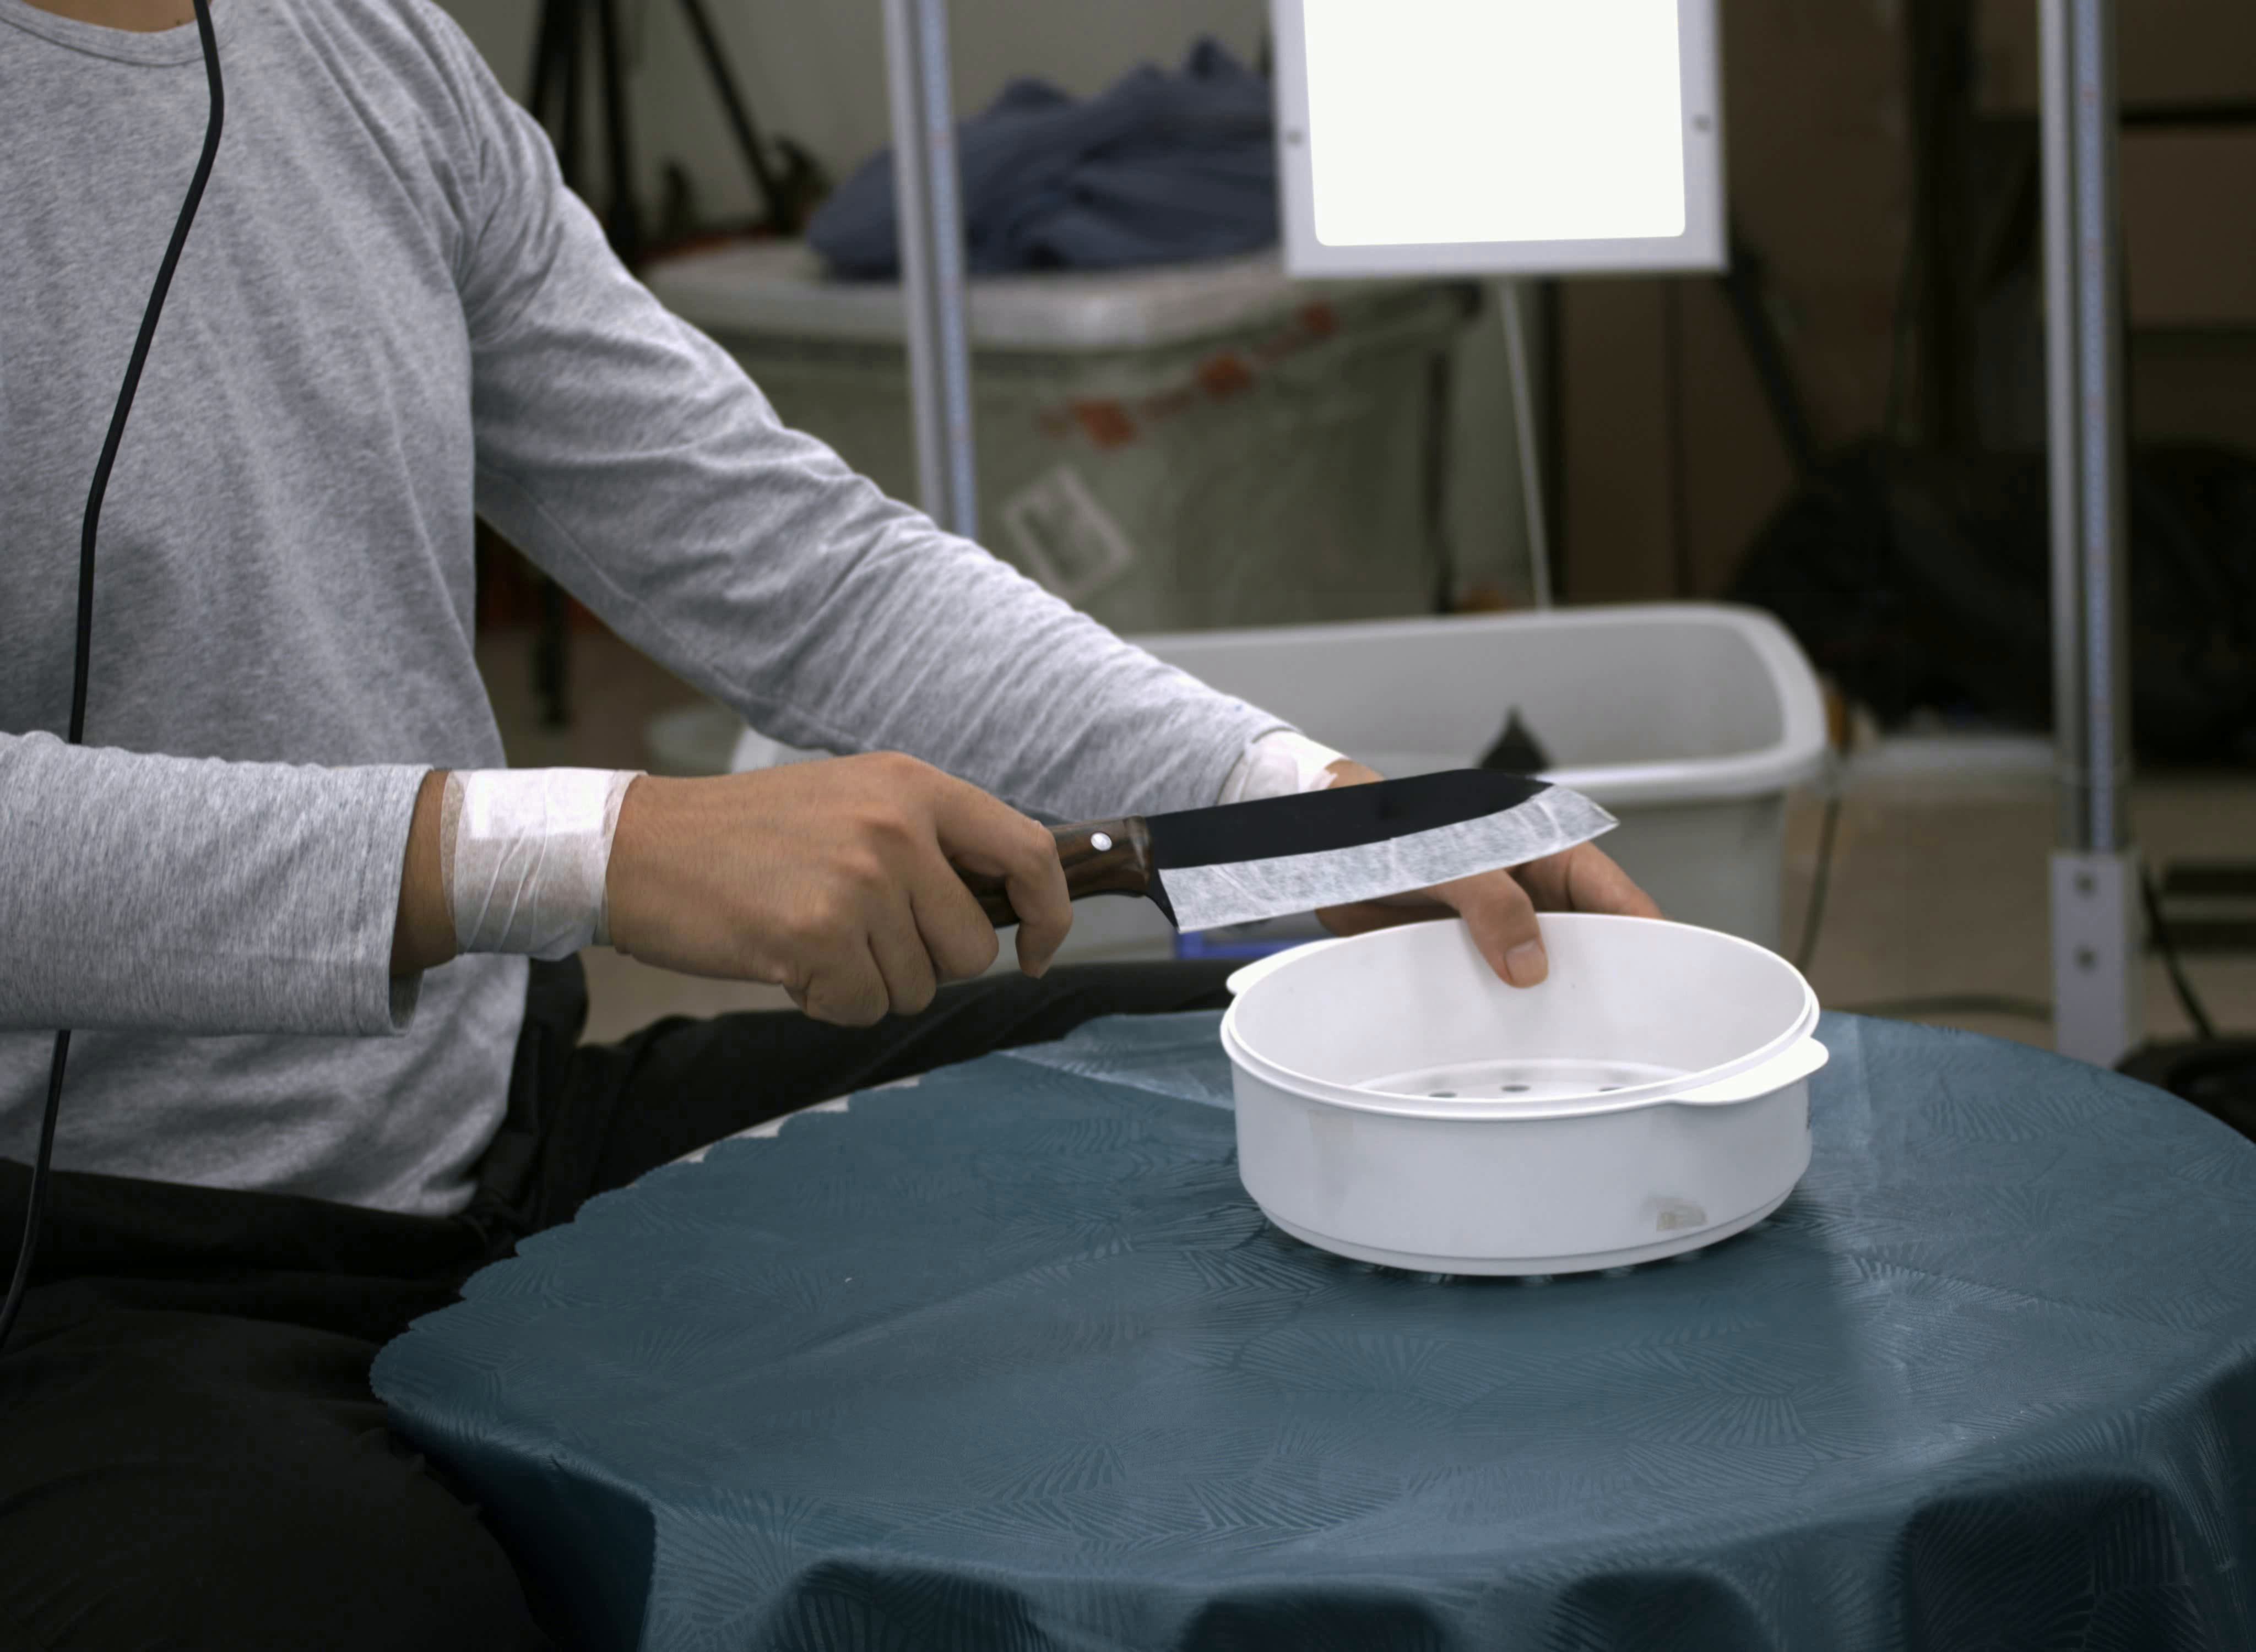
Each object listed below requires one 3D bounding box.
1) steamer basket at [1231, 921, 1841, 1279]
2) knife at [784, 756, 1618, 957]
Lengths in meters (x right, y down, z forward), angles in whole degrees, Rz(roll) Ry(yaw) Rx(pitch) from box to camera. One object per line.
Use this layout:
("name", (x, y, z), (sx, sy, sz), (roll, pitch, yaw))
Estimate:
("steamer basket", (0.137, 0.091, 1.843), (0.197, 0.069, 0.235), (-19, 21, -41))
("knife", (0.028, 0.011, 1.744), (0.284, 0.050, 0.020), (-7, -30, -20))
